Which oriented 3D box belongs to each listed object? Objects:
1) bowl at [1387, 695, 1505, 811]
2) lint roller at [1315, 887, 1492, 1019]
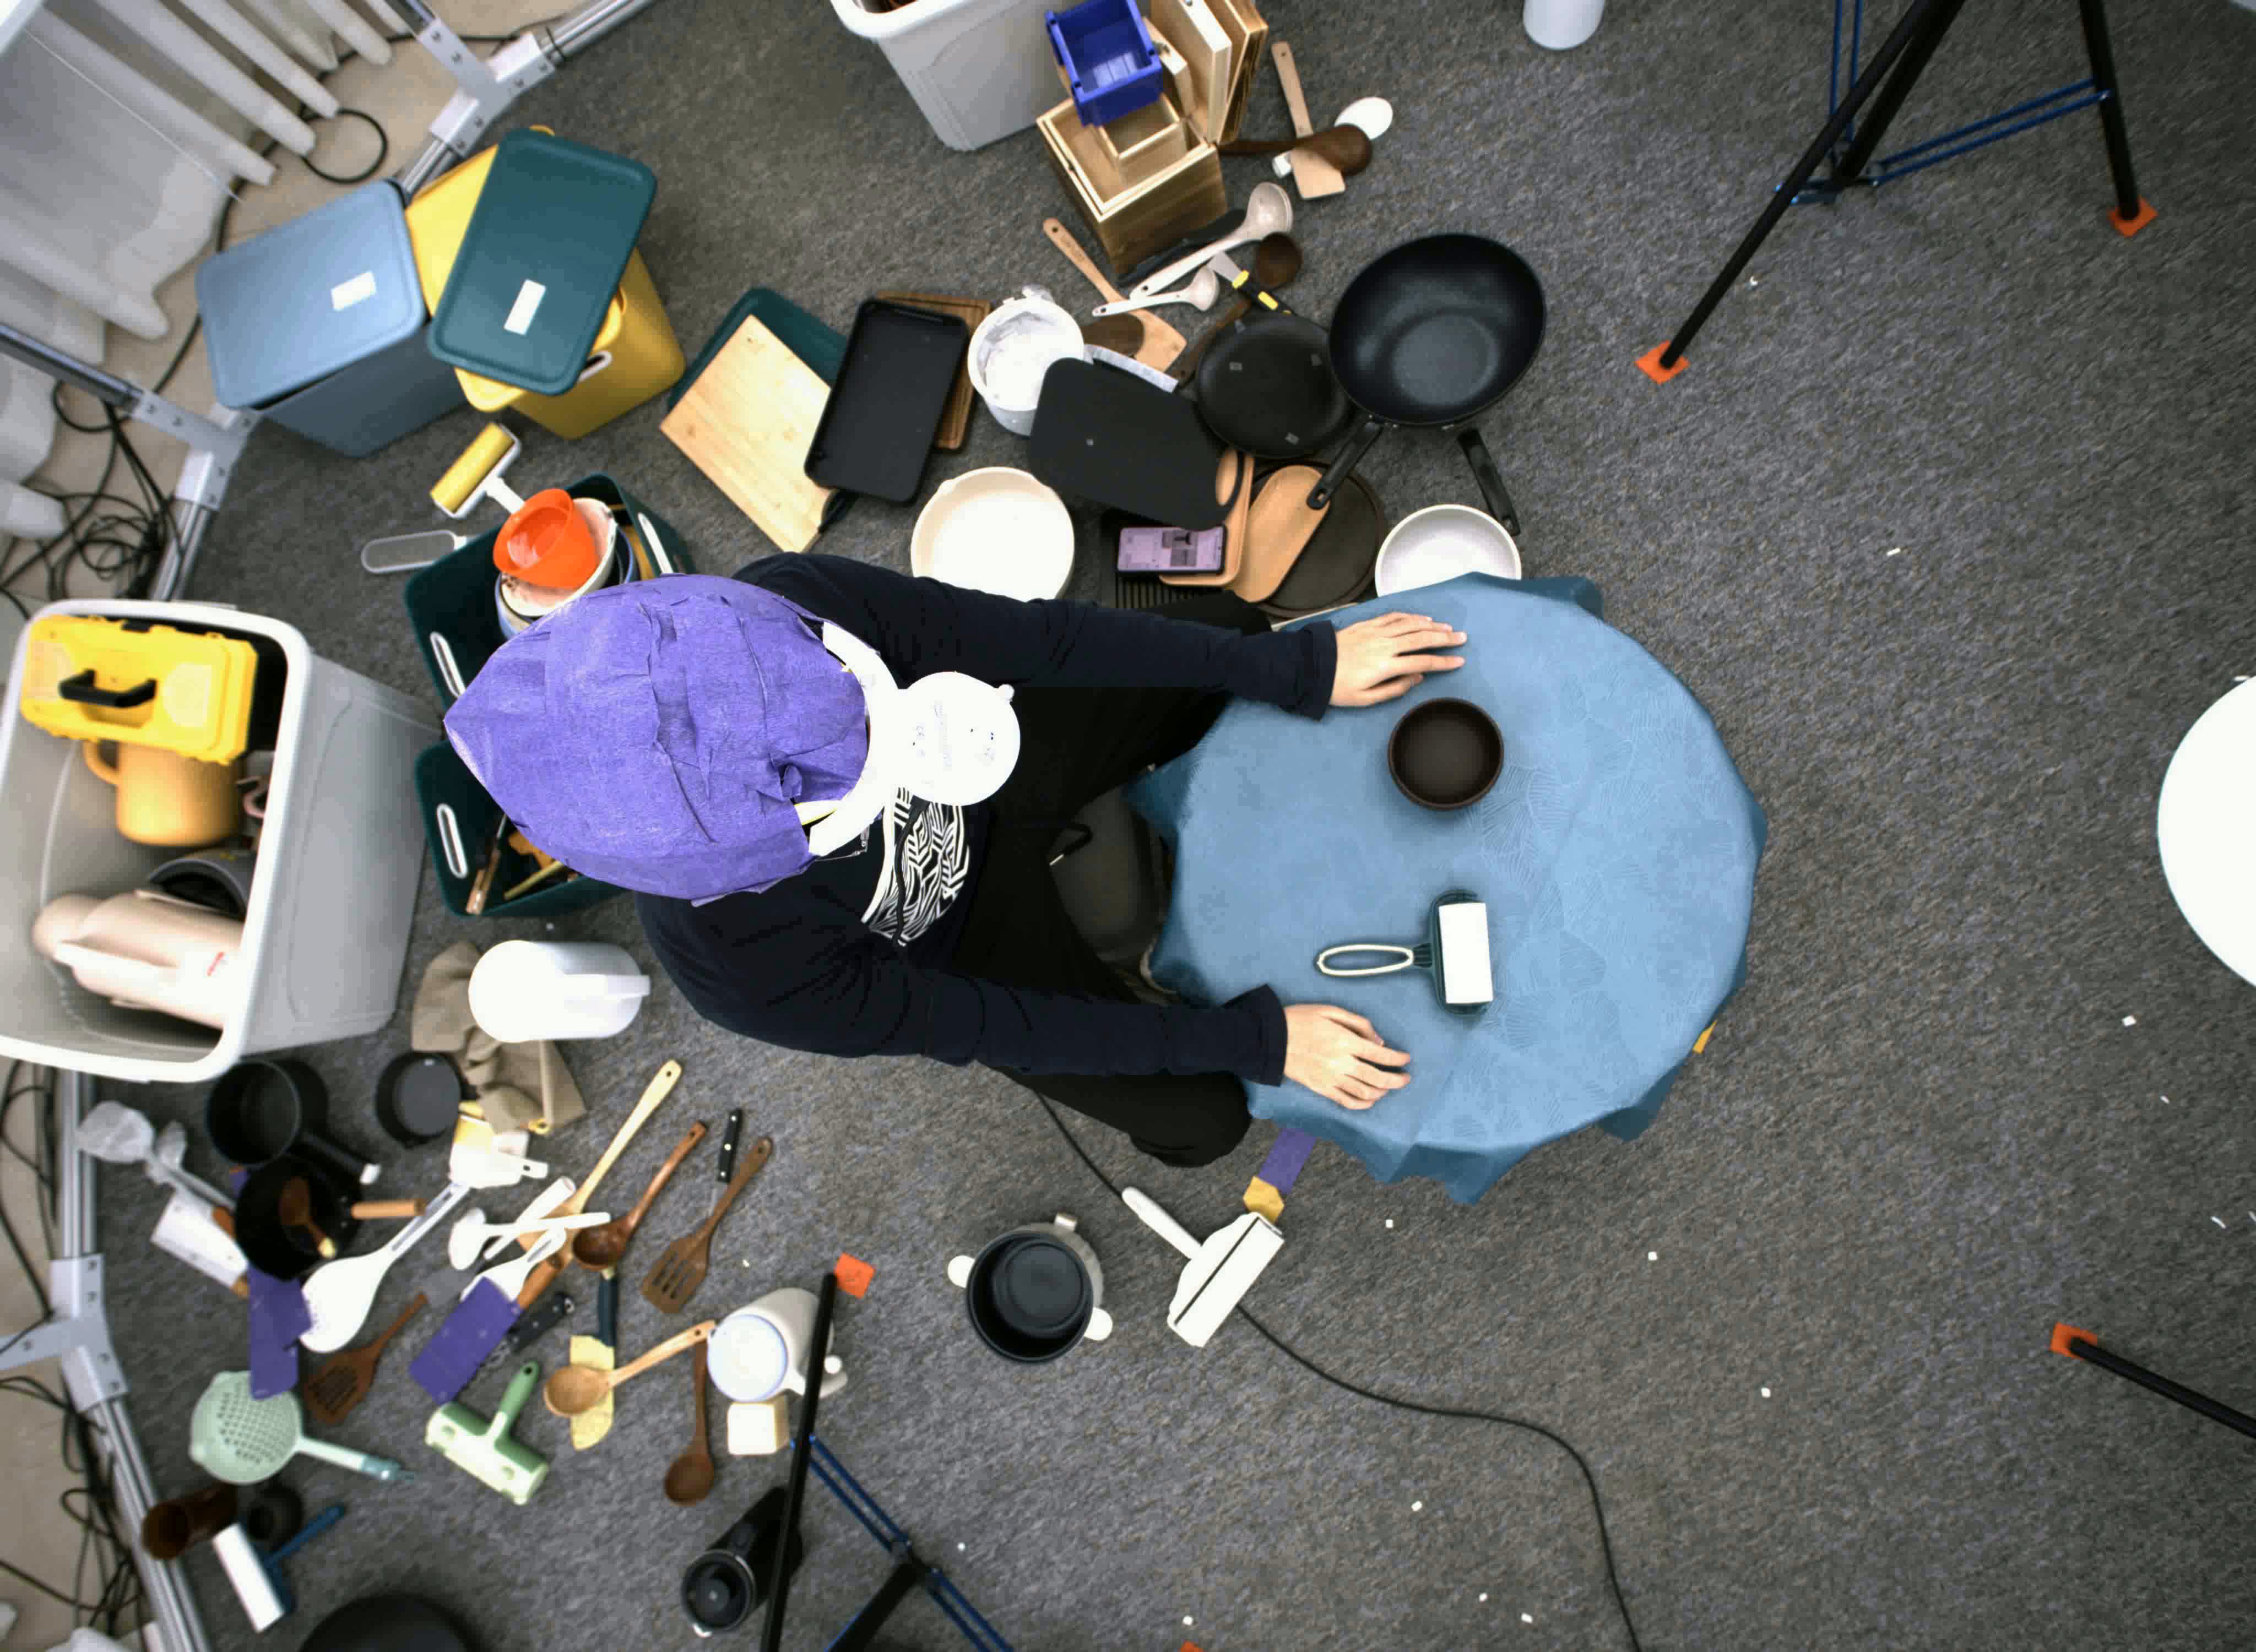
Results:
[{"bbox_3d":[0.328,-0.074,1.420,0.118,0.070,0.117,-1,87,12],"label":"bowl"},{"bbox_3d":[0.282,0.135,1.434,0.181,0.048,0.133,-5,86,13],"label":"lint roller"}]
